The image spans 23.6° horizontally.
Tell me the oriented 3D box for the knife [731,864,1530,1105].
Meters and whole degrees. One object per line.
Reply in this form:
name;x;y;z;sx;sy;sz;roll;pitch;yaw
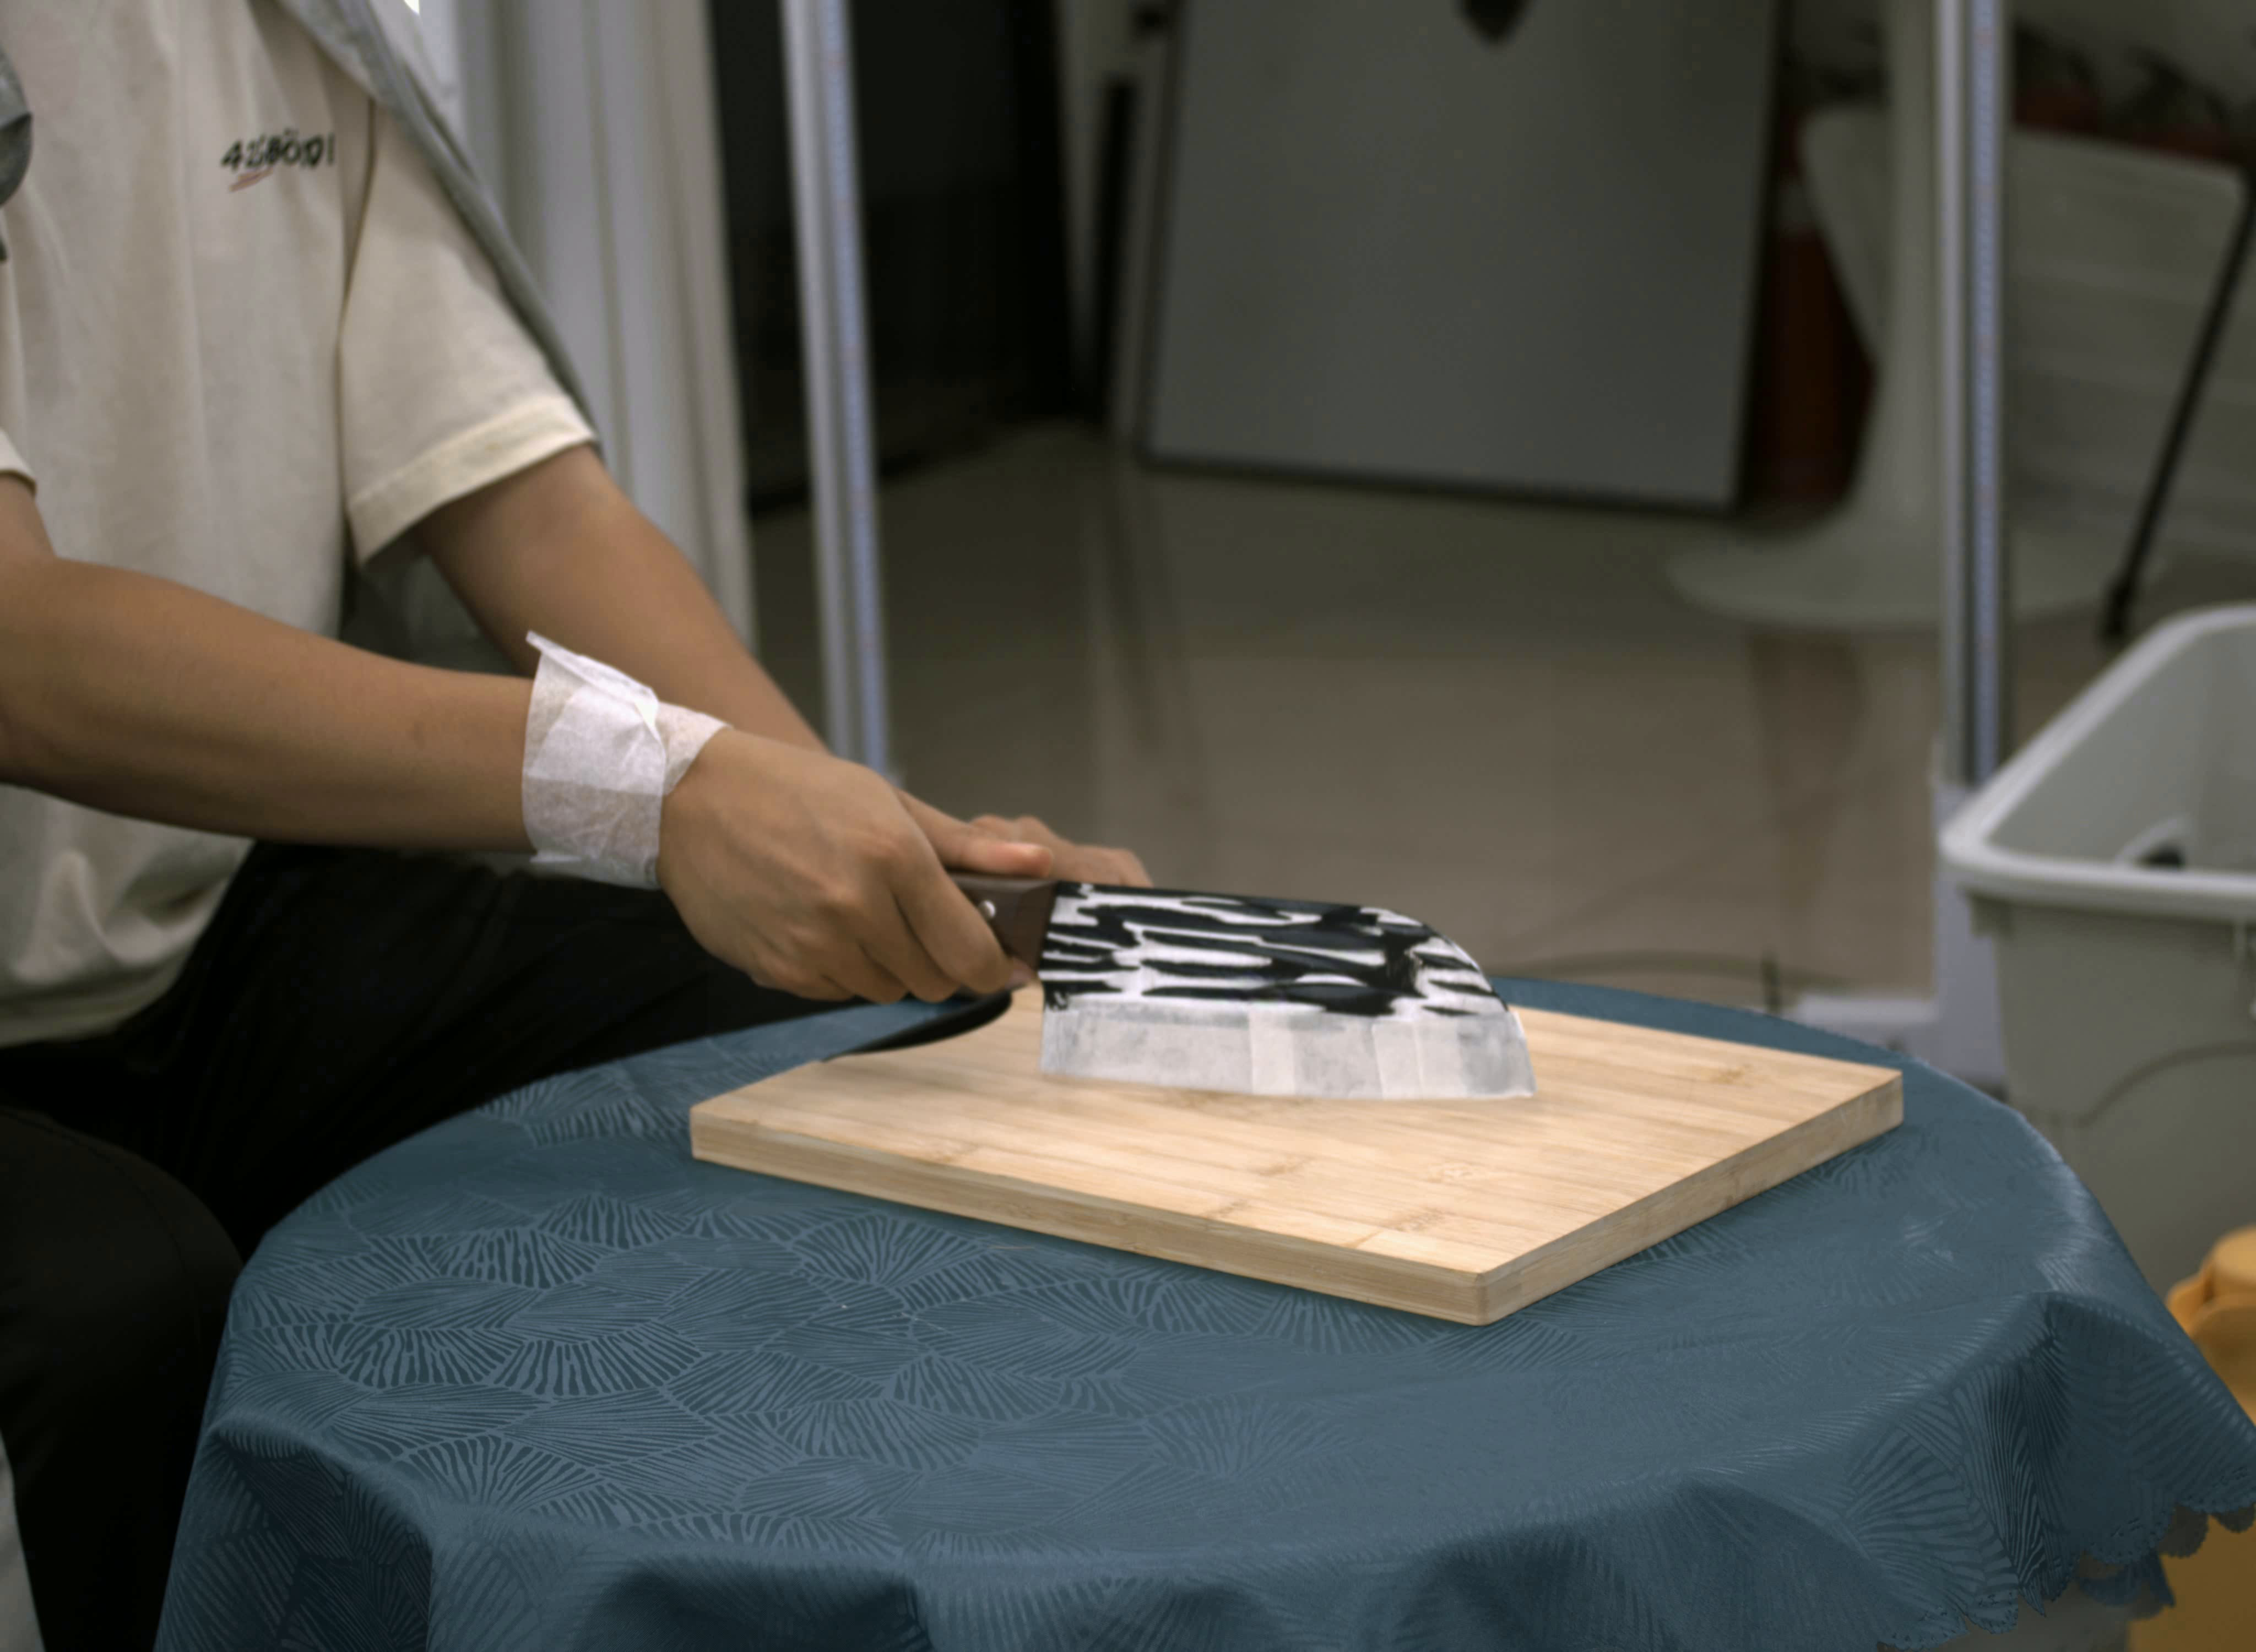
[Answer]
knife;-0.003;0.053;1.821;0.300;0.069;0.023;6;3;24

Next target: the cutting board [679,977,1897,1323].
cutting board;0.051;0.099;1.818;0.351;0.024;0.246;7;18;40
